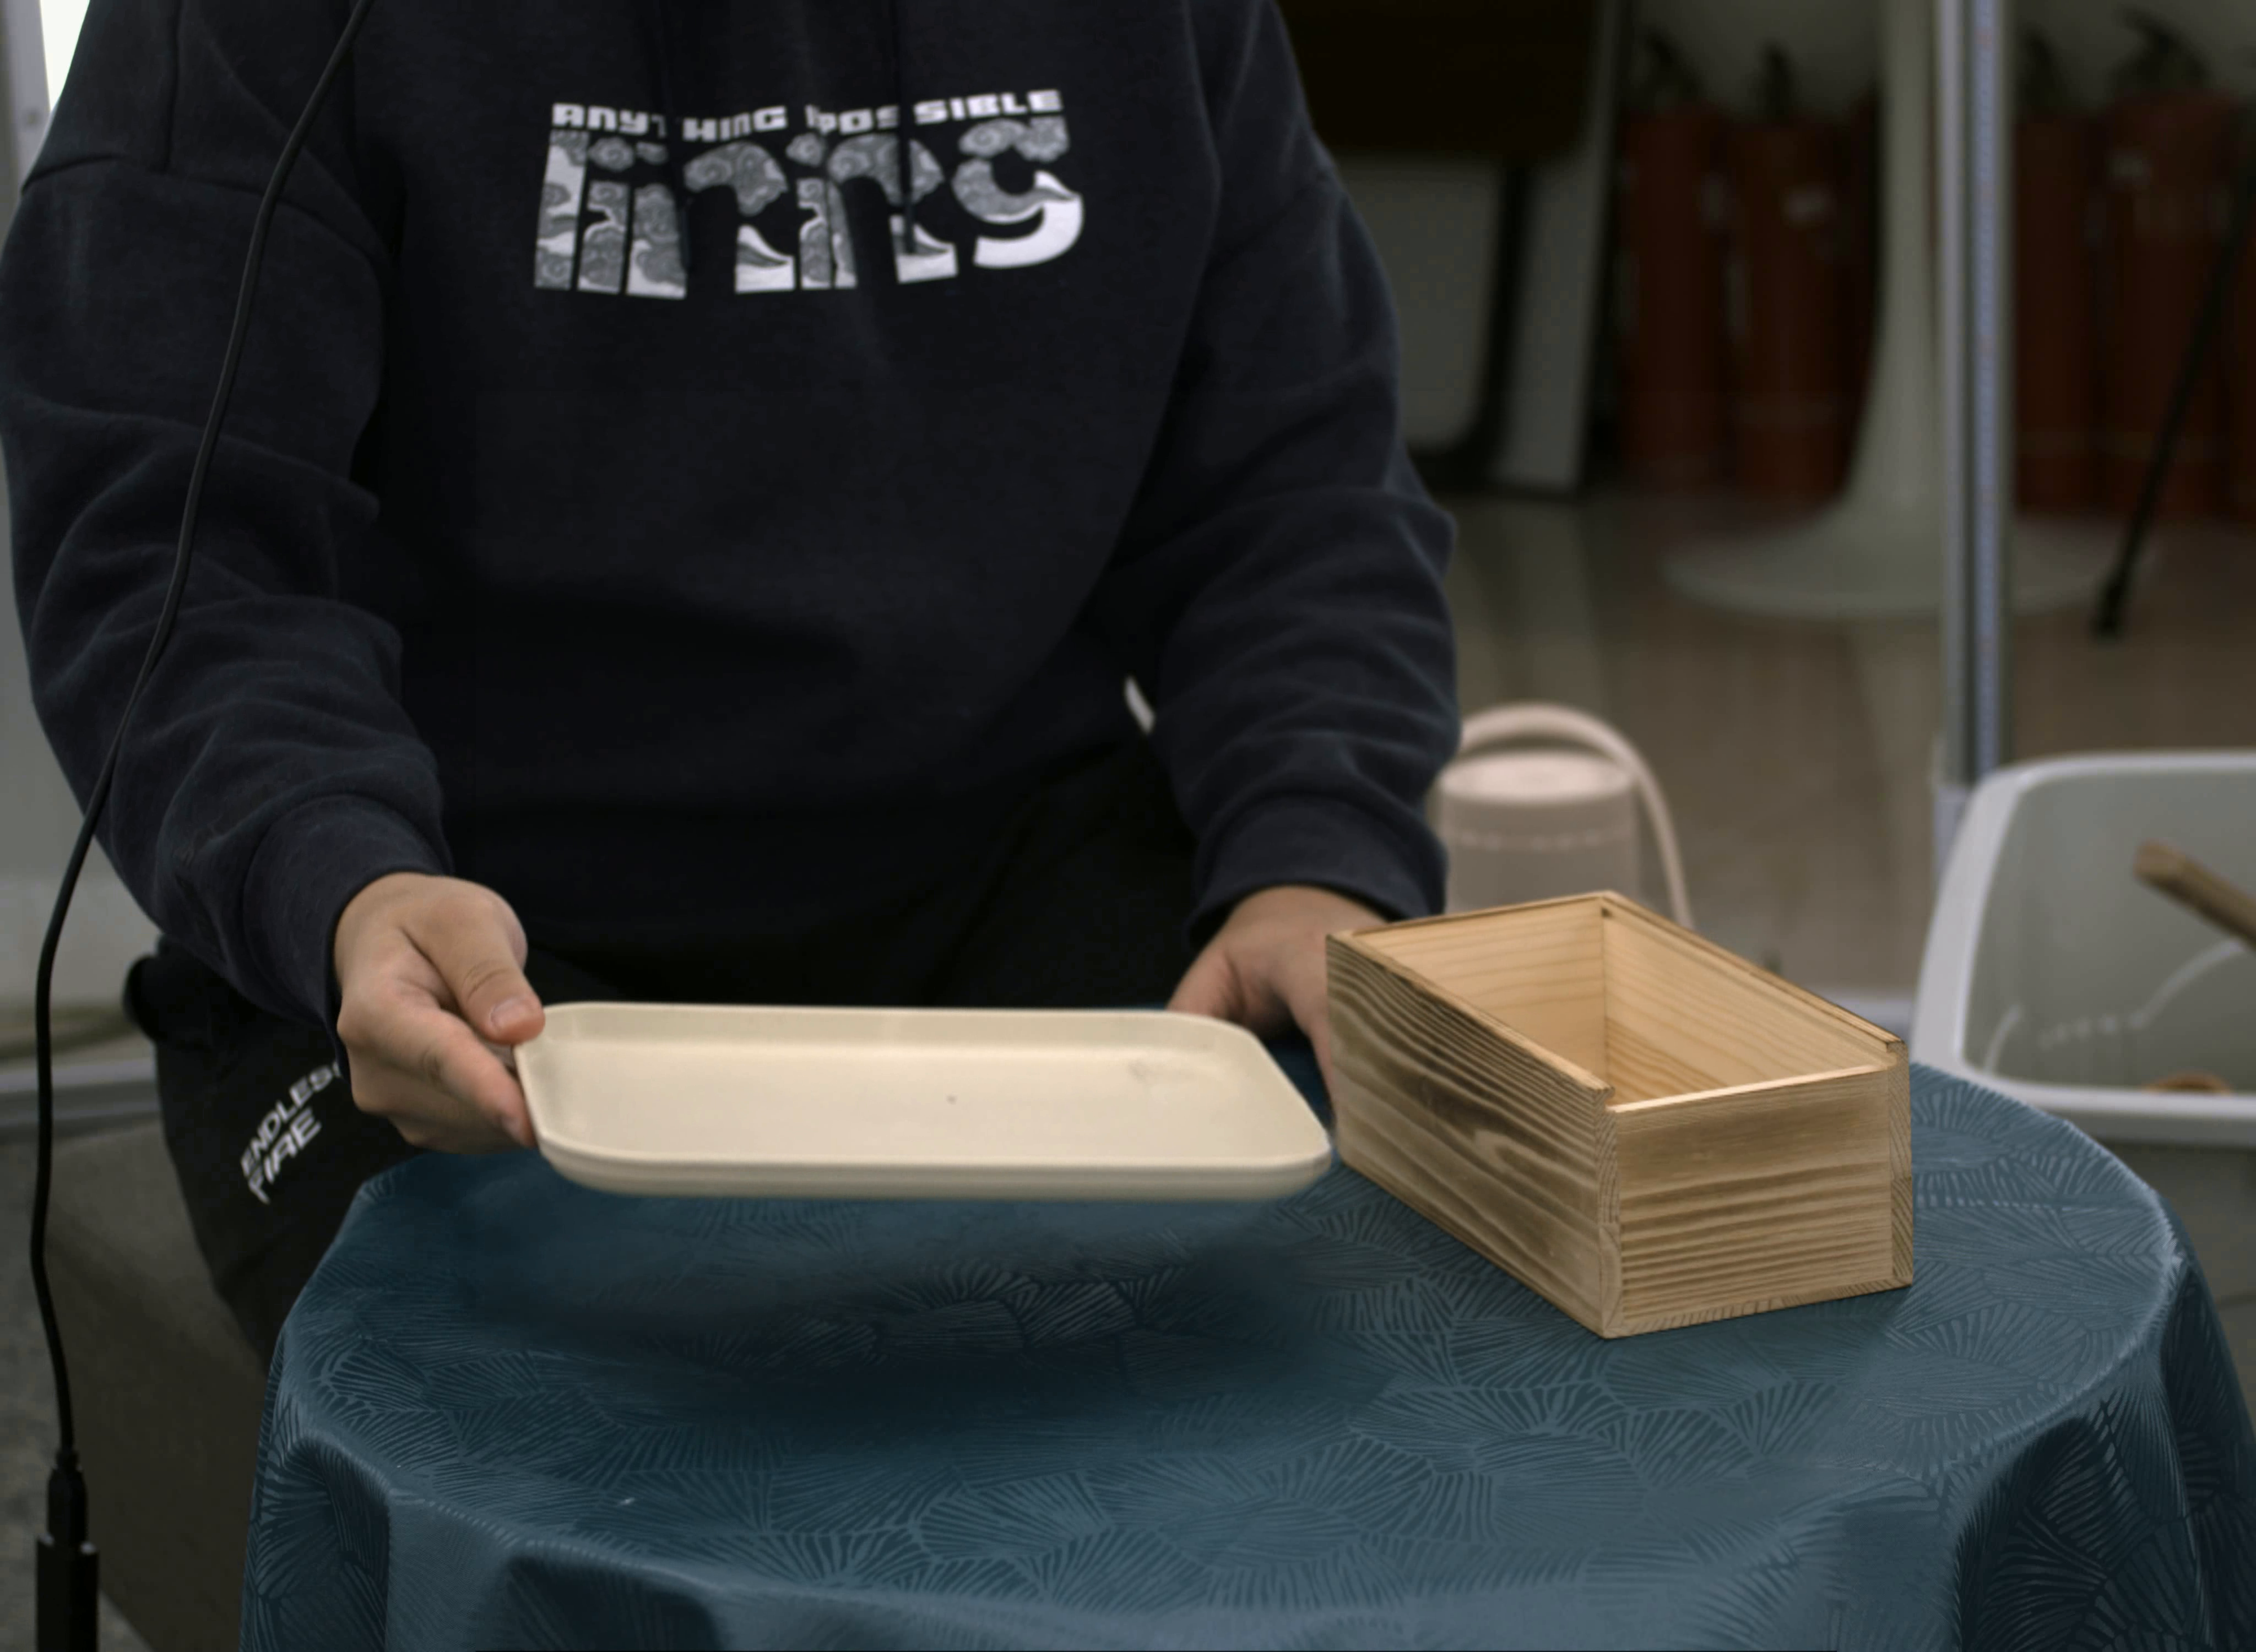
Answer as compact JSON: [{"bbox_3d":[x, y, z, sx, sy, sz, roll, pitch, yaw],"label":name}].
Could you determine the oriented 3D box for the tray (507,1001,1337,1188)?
[{"bbox_3d":[-0.064,0.081,1.629,0.235,0.018,0.172,0,12,-10],"label":"tray"}]

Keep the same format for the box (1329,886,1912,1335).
[{"bbox_3d":[0.152,0.086,1.705,0.105,0.081,0.213,-8,14,-19],"label":"box"}]
